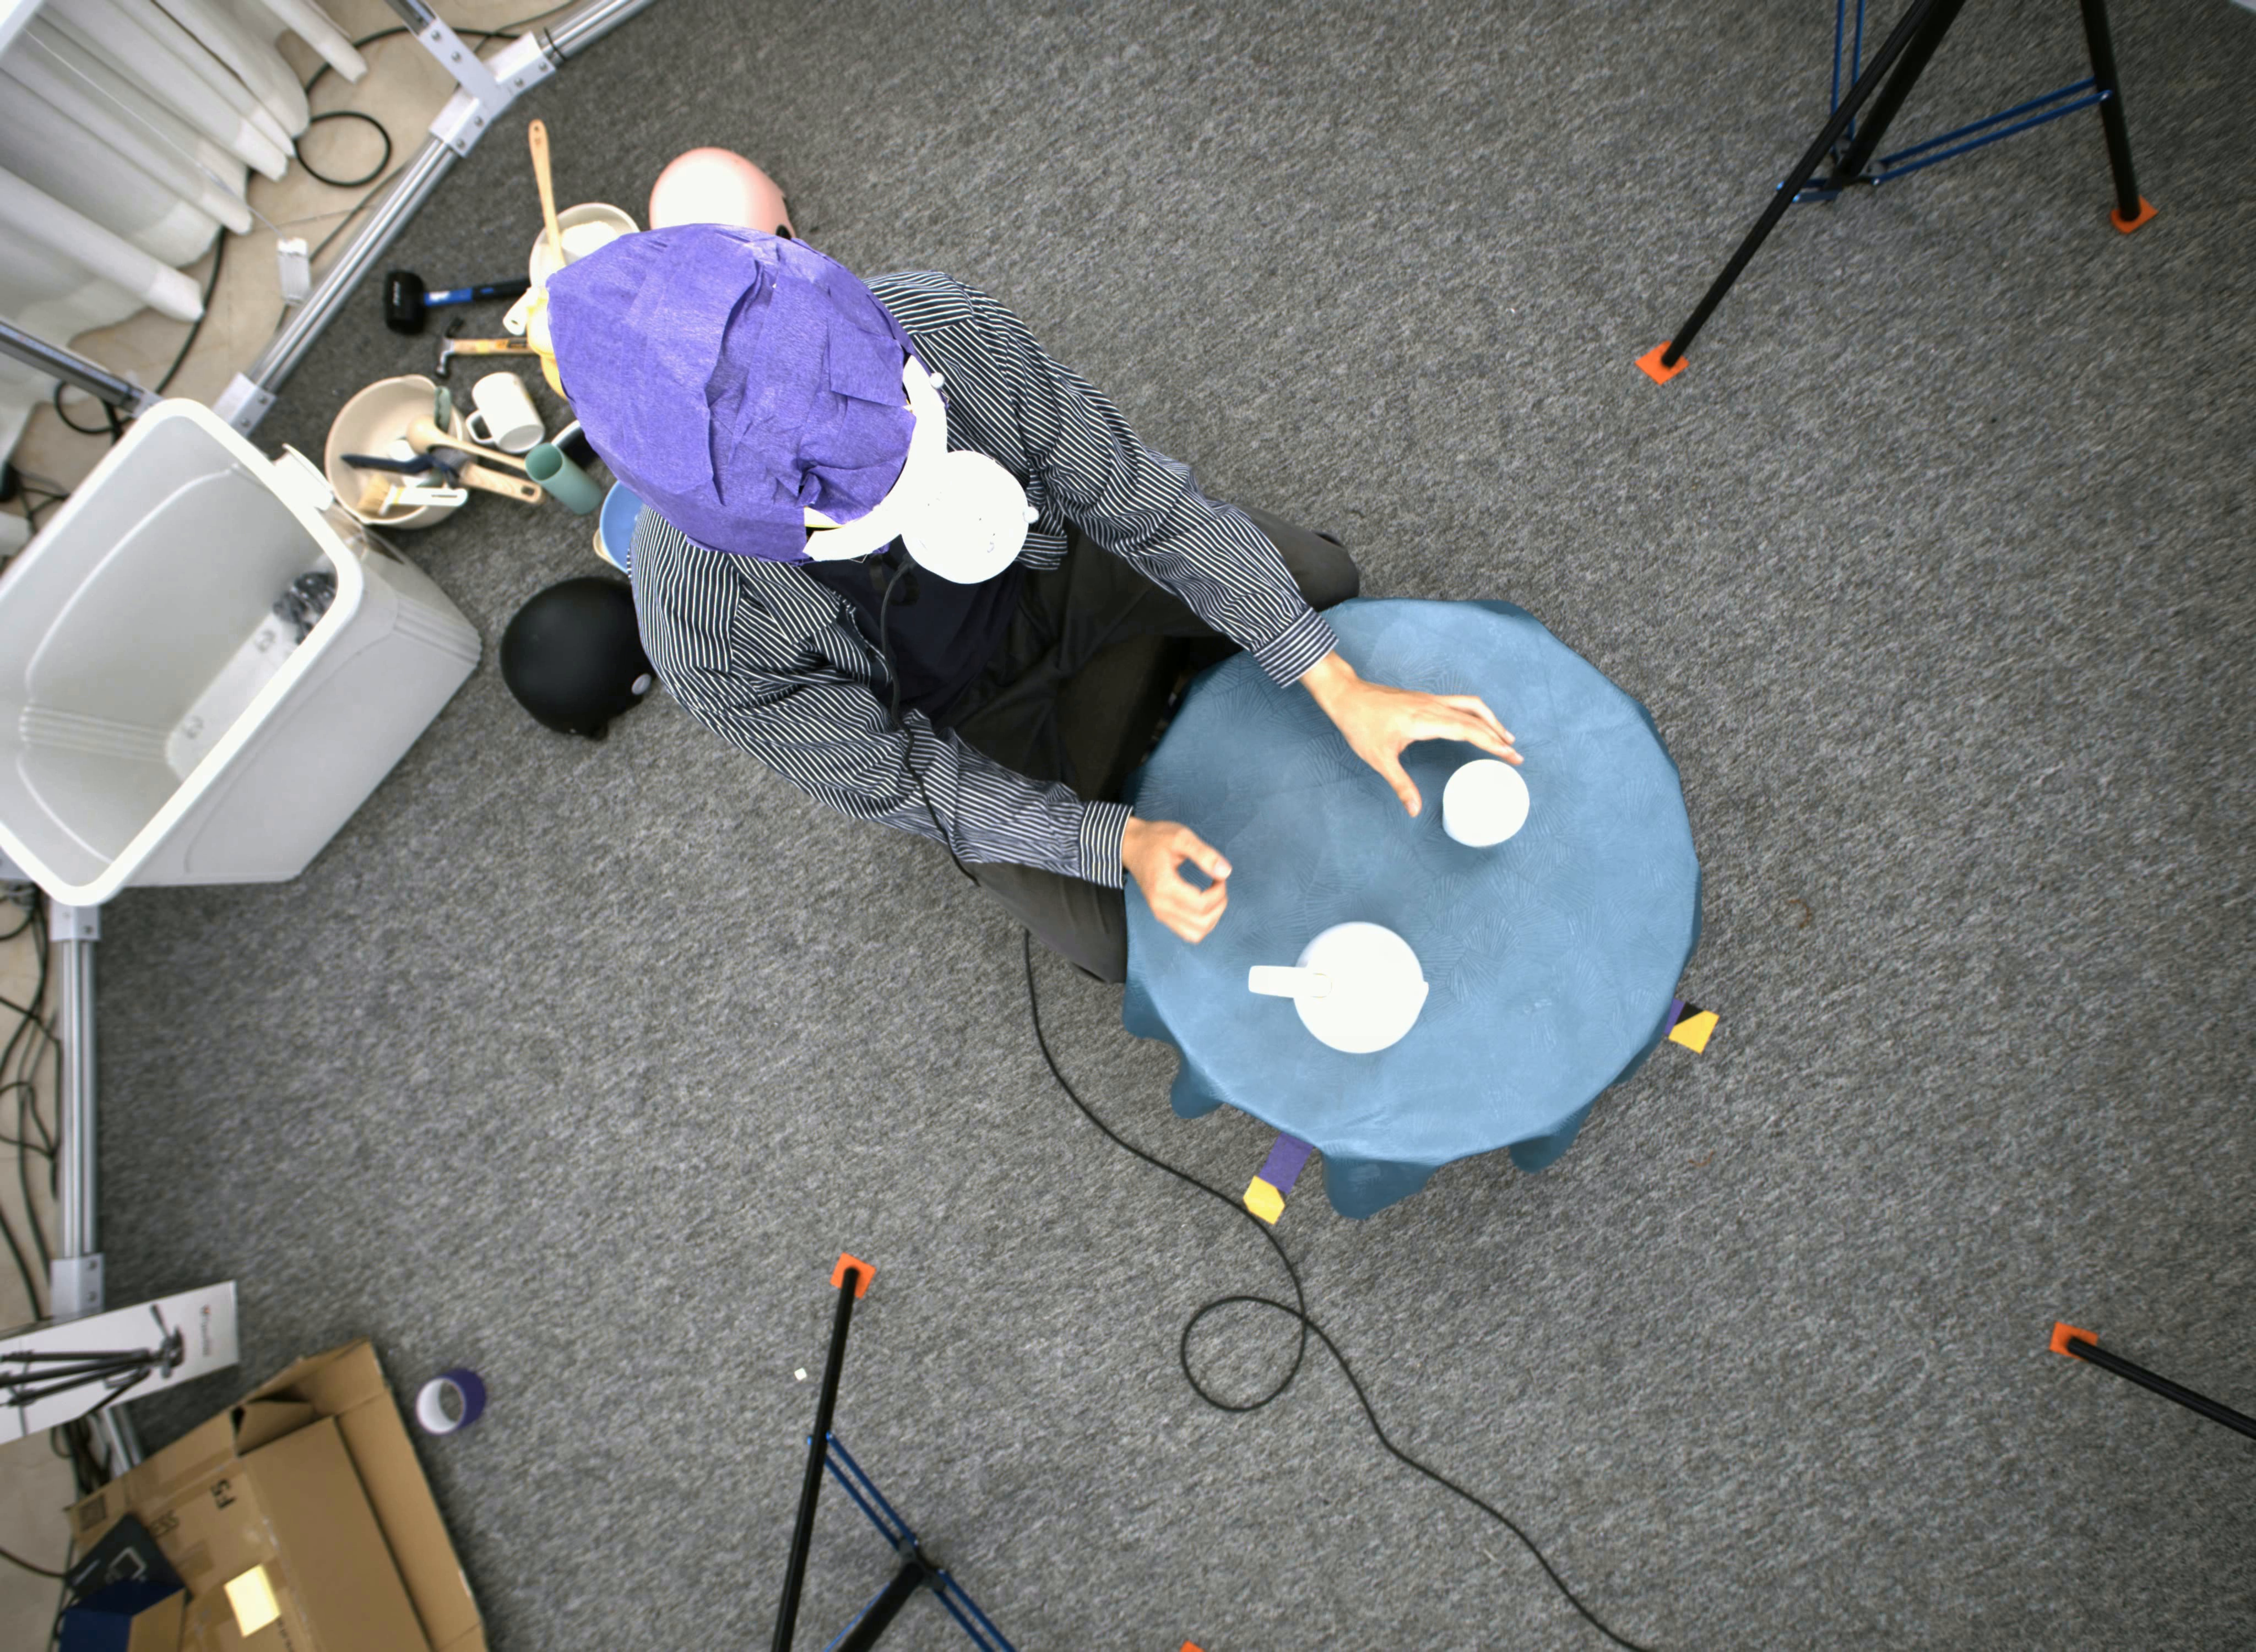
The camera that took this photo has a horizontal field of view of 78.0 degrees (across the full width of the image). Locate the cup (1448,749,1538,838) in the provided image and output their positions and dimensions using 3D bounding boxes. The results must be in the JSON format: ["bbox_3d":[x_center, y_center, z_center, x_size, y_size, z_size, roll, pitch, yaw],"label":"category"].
[{"bbox_3d":[0.361,-0.030,1.370,0.082,0.125,0.081,-1,86,10],"label":"cup"}]

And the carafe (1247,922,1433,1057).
[{"bbox_3d":[0.199,0.159,1.327,0.168,0.248,0.132,-3,87,7],"label":"carafe"}]
